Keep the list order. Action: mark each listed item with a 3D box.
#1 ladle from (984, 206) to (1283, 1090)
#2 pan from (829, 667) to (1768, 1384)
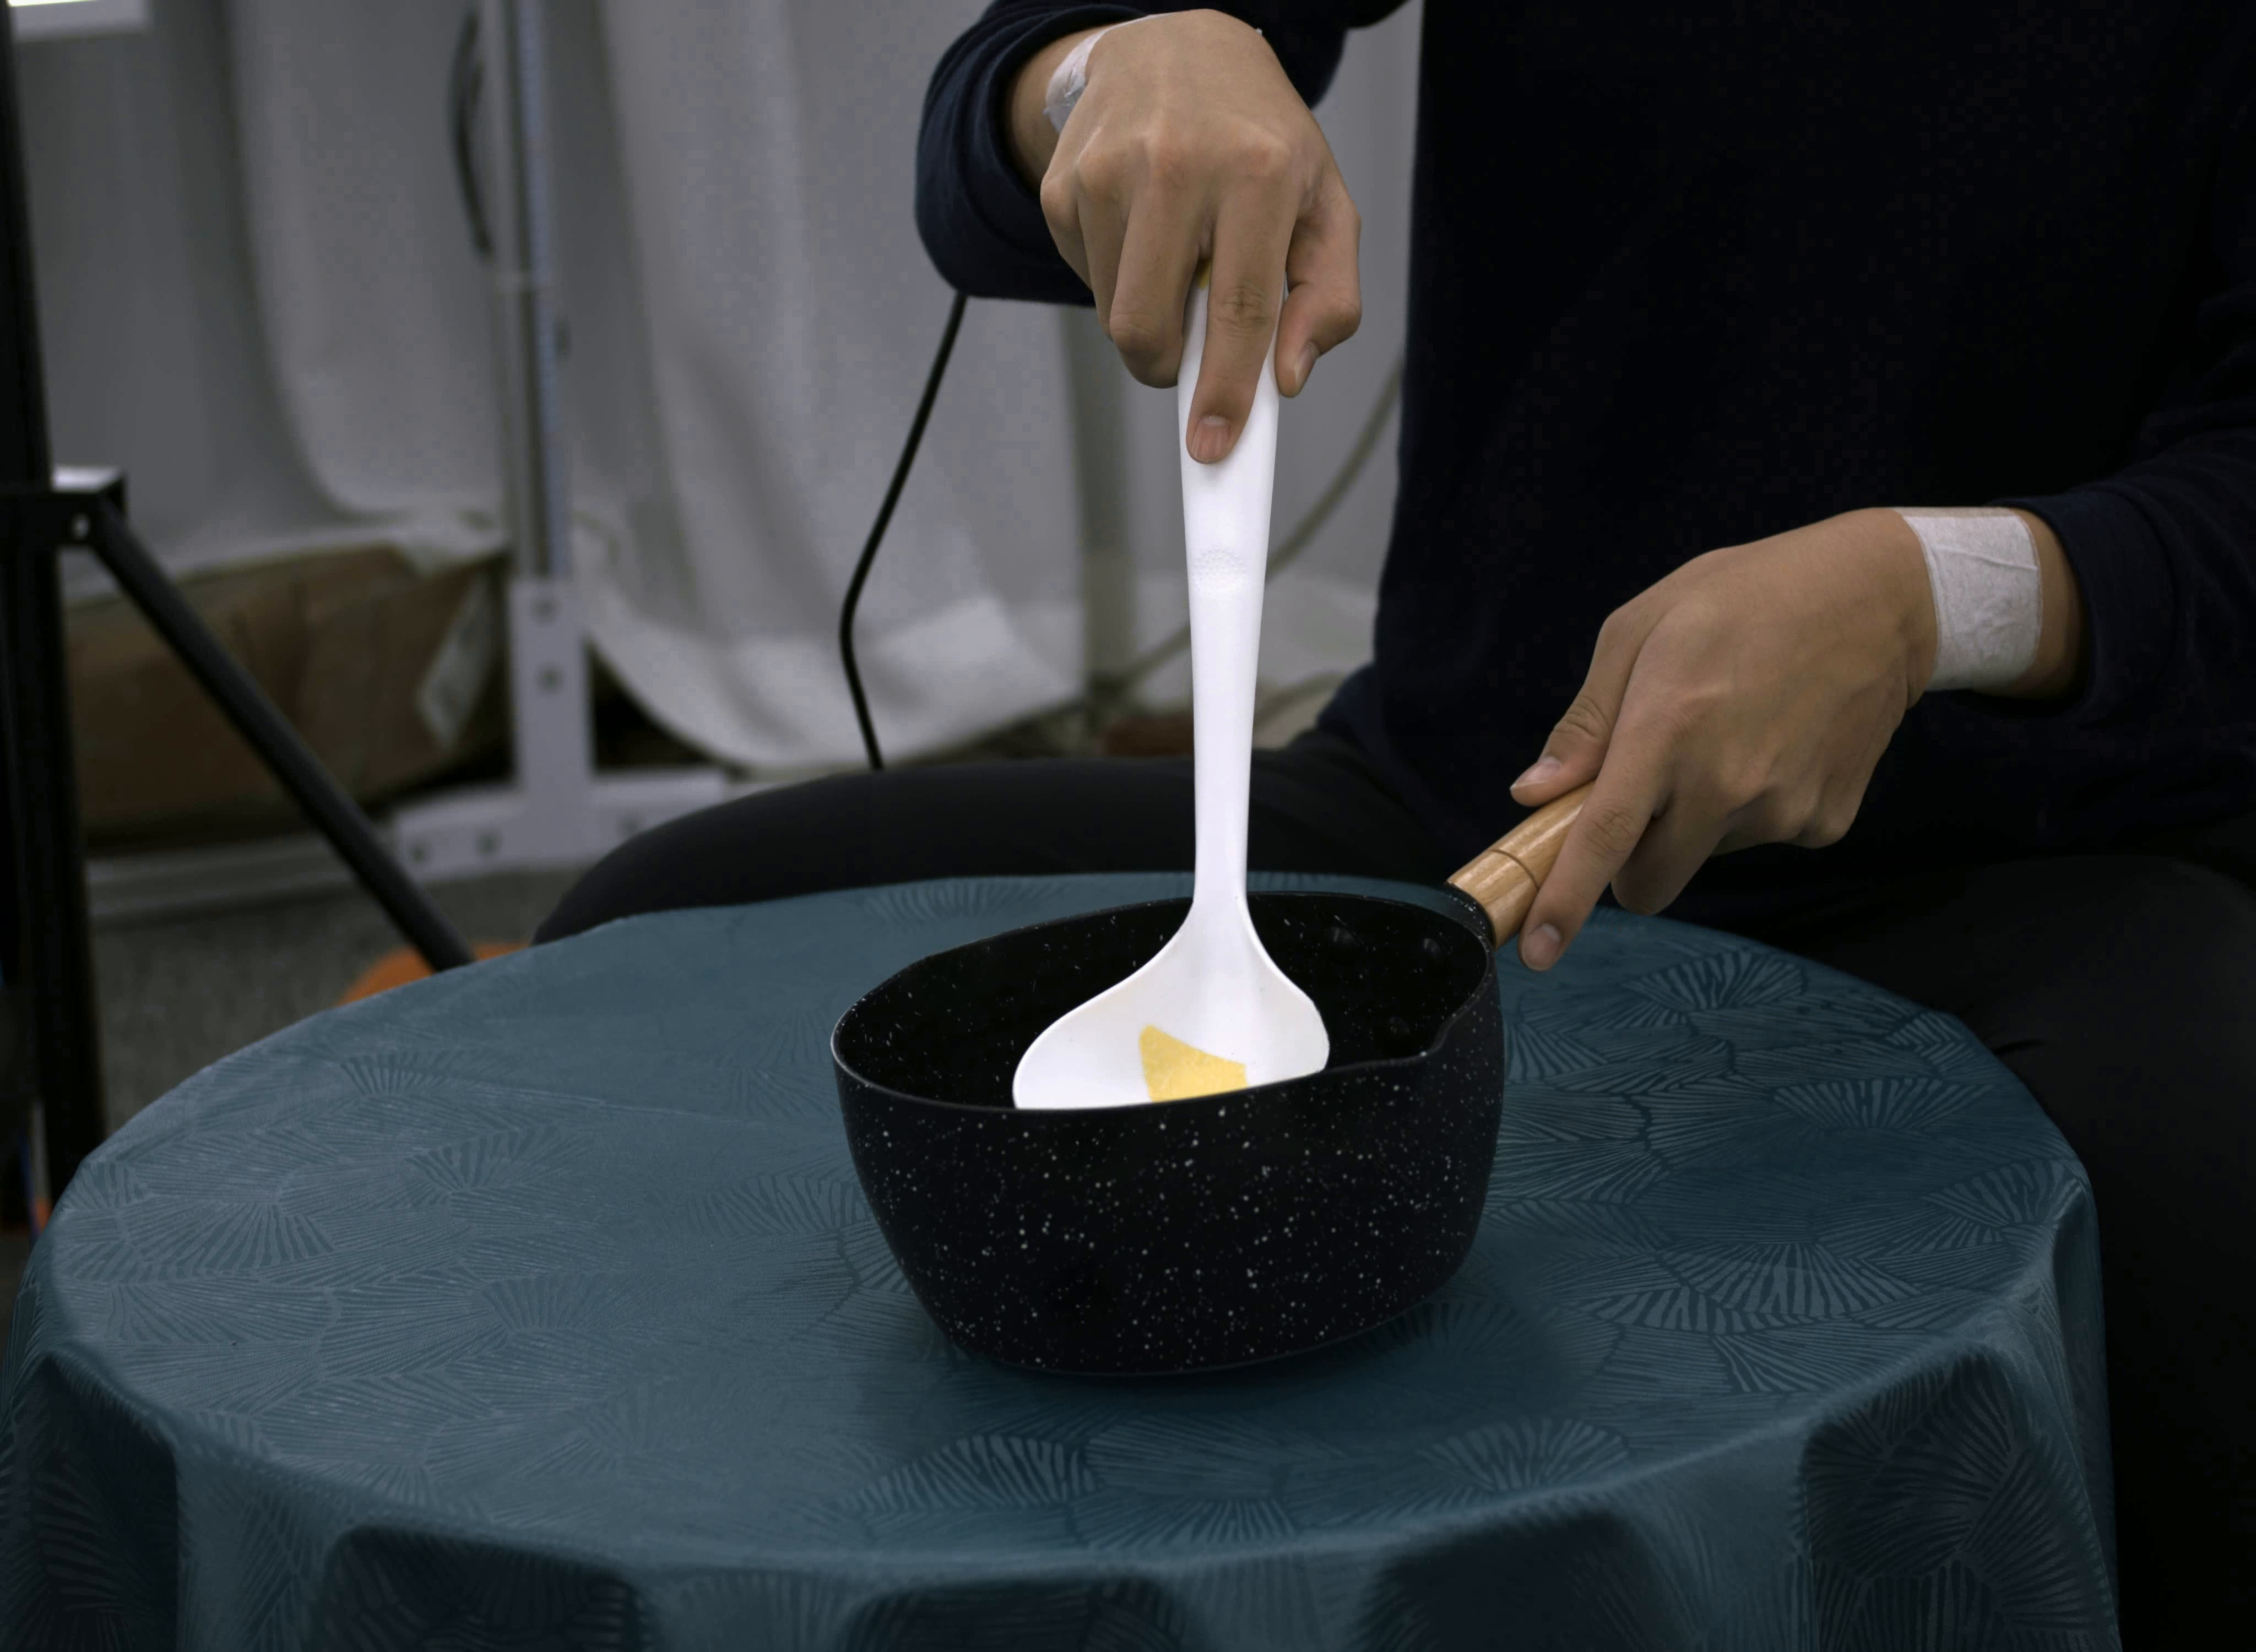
[{"bbox_3d":[0.012,-0.042,1.492,0.091,0.295,0.068,-7,-21,29],"label":"ladle"},{"bbox_3d":[0.069,0.053,1.506,0.336,0.108,0.212,-23,20,-39],"label":"pan"}]
